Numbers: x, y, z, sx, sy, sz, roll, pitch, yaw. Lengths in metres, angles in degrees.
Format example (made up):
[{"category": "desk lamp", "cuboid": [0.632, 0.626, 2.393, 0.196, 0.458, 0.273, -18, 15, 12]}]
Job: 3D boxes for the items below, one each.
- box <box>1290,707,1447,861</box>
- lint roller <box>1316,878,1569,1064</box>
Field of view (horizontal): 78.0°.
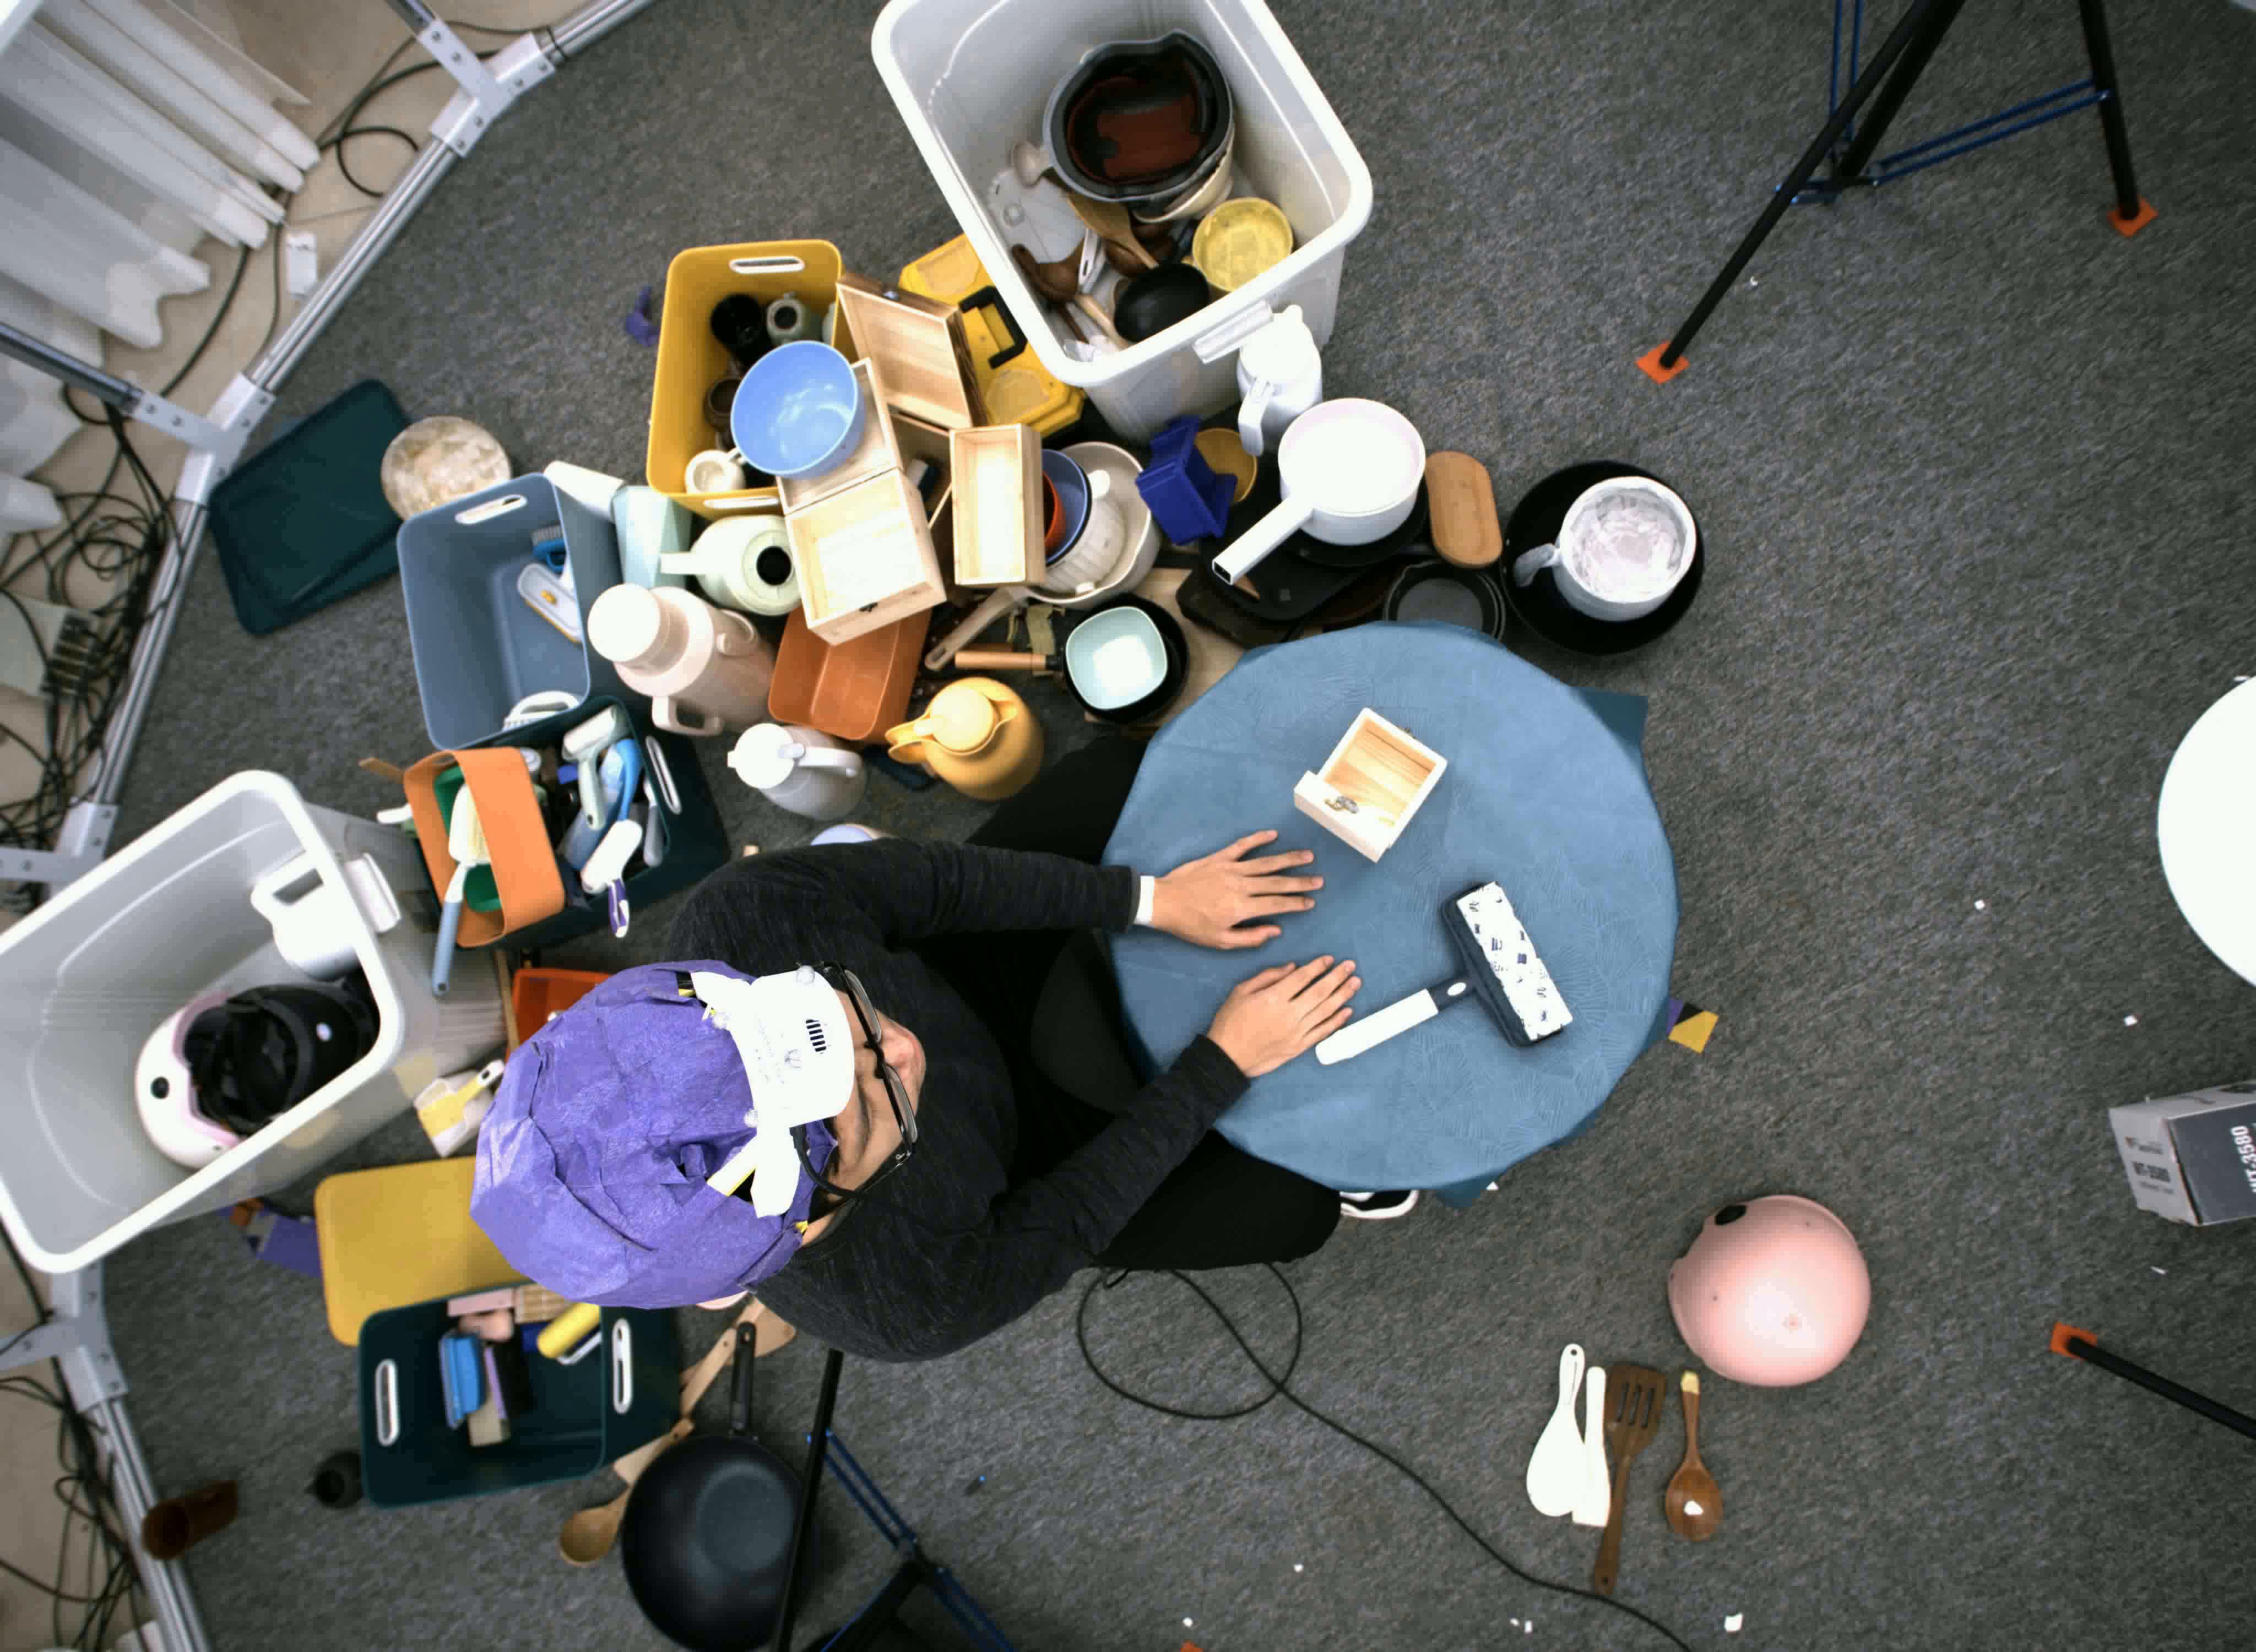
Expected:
[{"category": "box", "cuboid": [0.244, -0.048, 1.379, 0.102, 0.184, 0.134, 35, 92, 12]}, {"category": "lint roller", "cuboid": [0.307, 0.184, 1.425, 0.248, 0.050, 0.175, -29, 83, 9]}]
